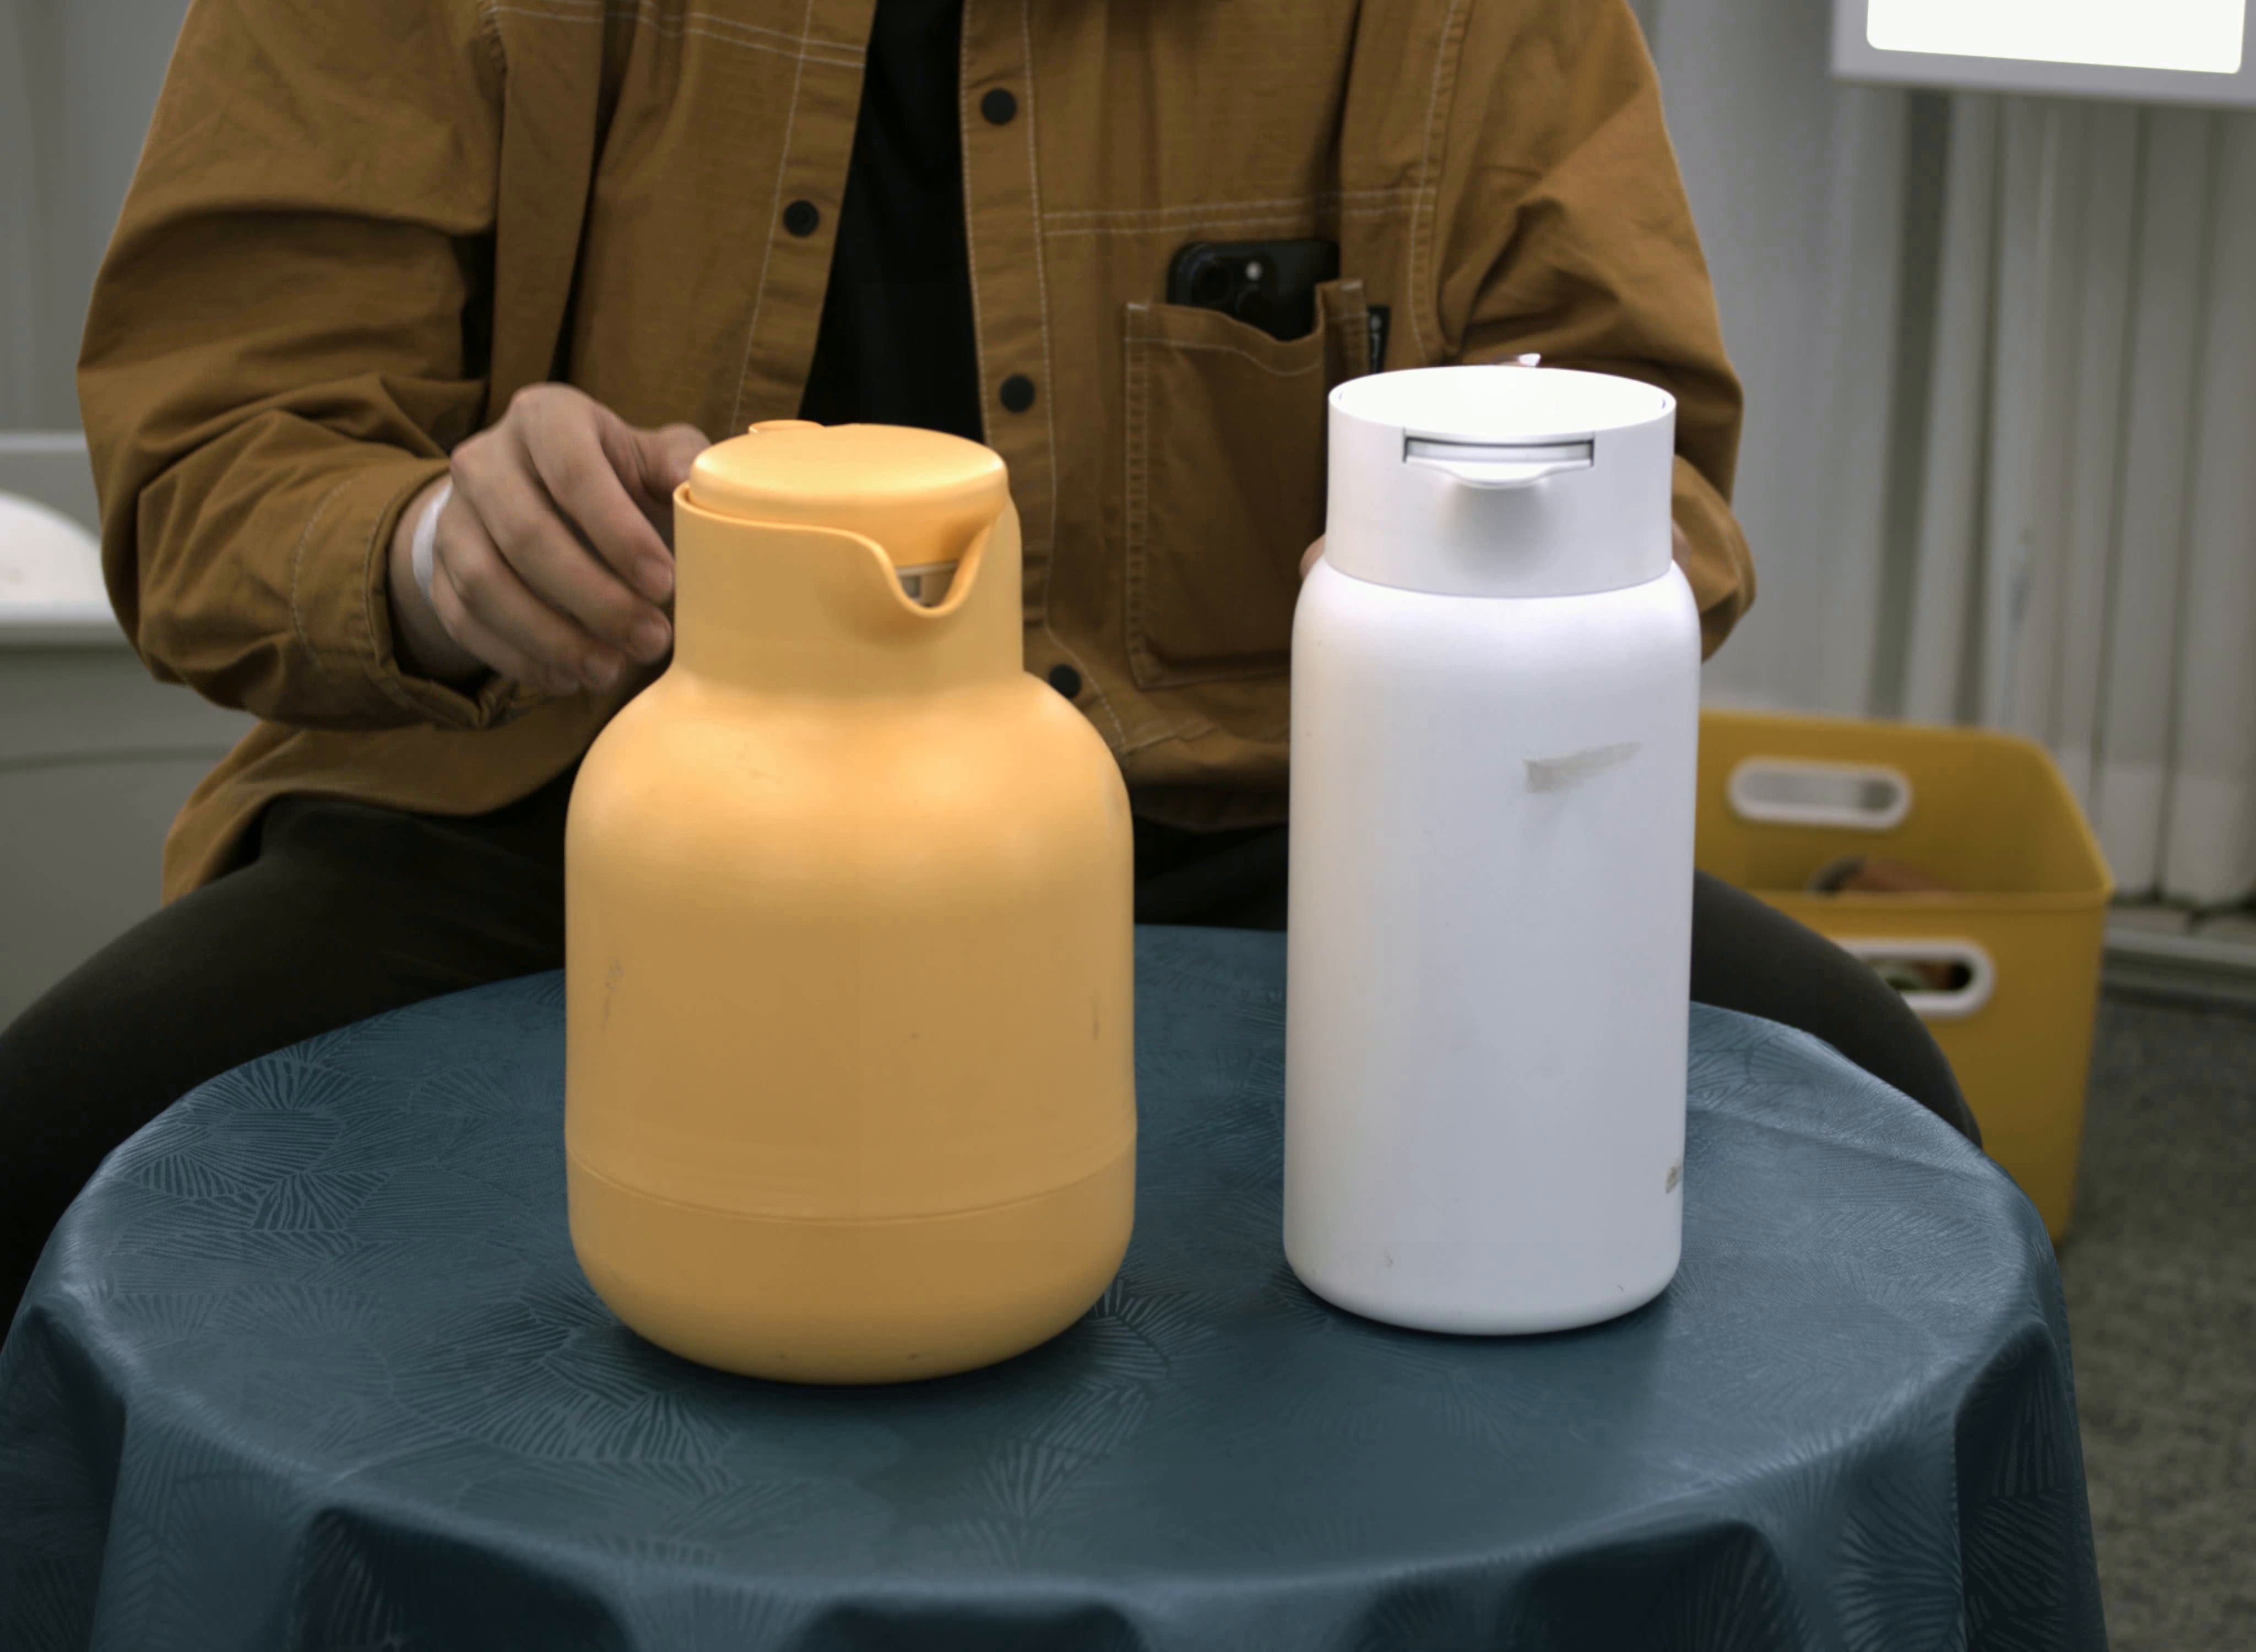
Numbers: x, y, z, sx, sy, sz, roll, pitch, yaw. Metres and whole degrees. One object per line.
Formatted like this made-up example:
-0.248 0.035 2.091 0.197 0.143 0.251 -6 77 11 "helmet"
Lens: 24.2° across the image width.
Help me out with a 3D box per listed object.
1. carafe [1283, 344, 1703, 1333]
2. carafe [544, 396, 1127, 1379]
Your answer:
0.105 -0.001 1.531 0.123 0.271 0.172 -1 16 4 "carafe"
-0.085 0.009 1.495 0.164 0.262 0.200 -2 17 -19 "carafe"
